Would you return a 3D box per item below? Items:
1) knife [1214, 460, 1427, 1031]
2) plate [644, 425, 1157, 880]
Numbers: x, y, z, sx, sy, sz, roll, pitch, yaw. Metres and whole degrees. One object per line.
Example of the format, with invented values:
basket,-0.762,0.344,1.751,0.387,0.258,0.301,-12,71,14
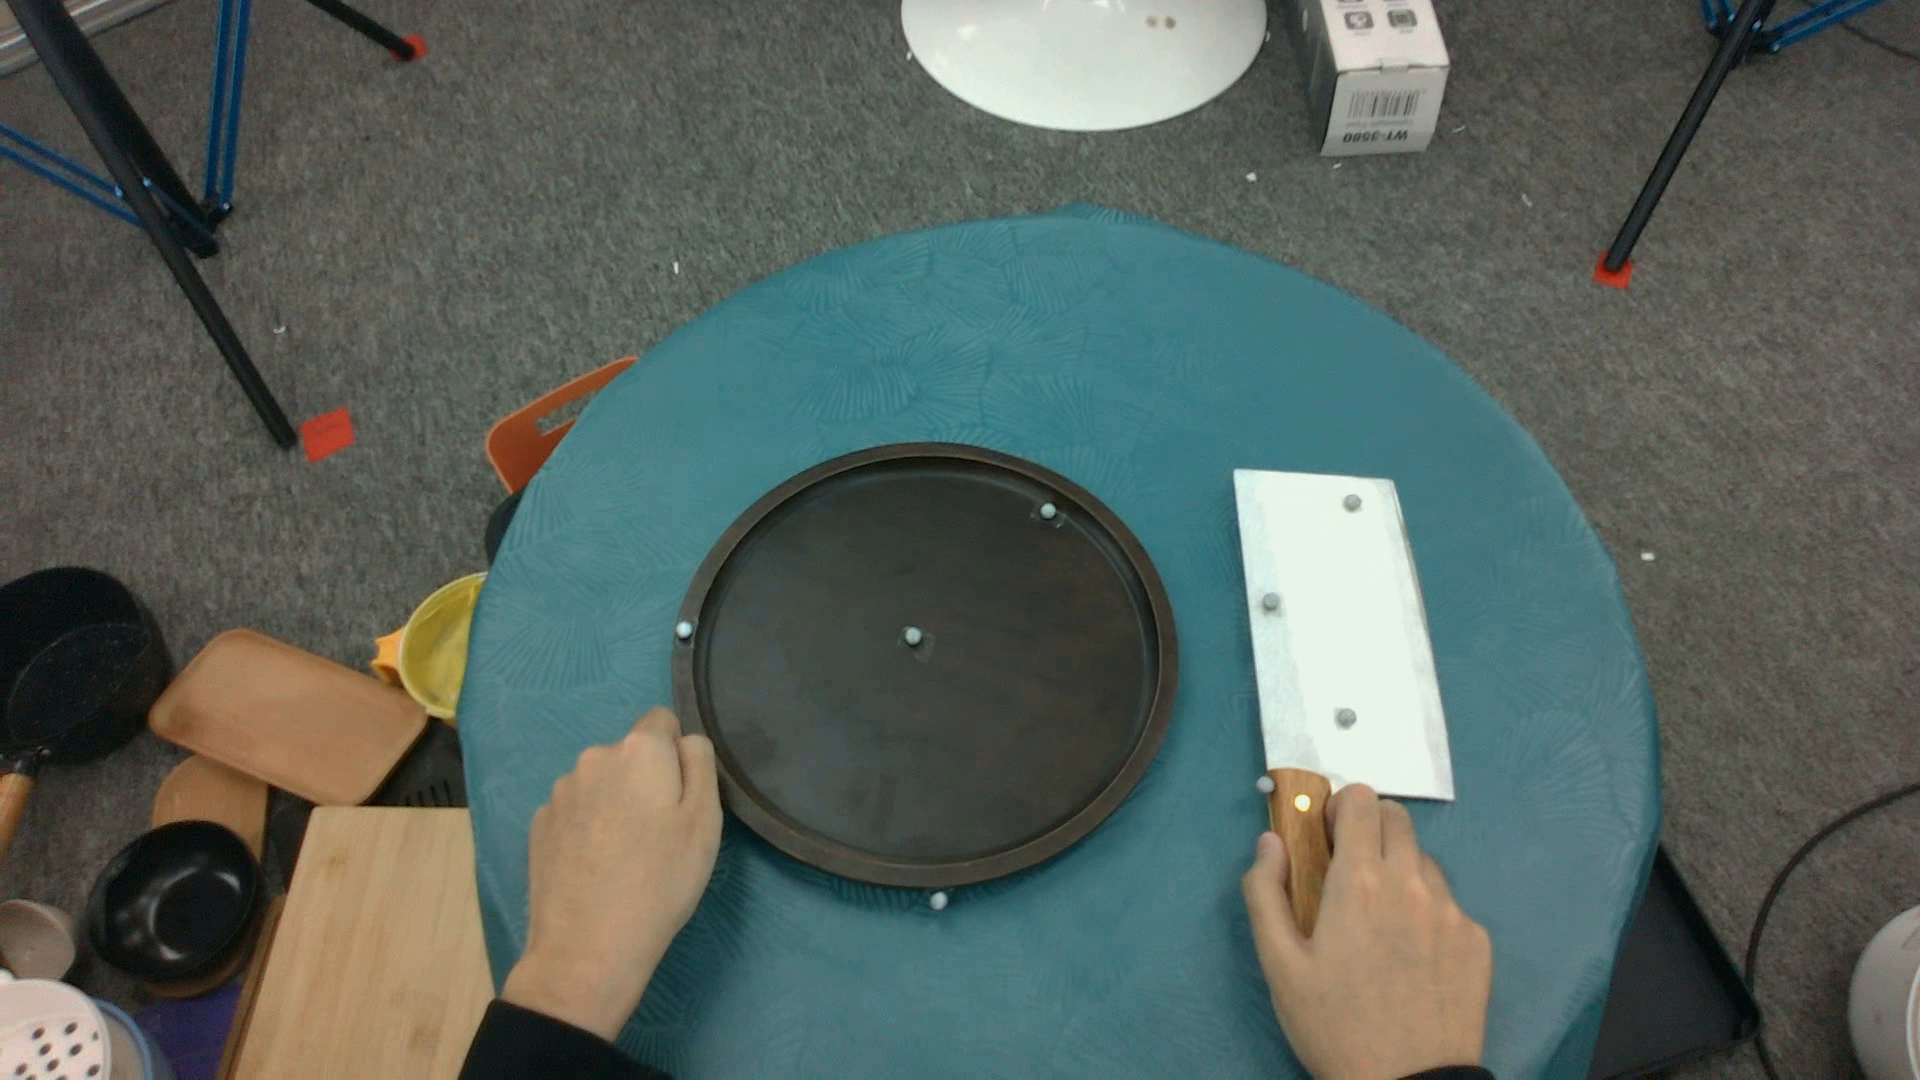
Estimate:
knife,0.179,0.084,0.674,0.093,0.021,0.307,5,56,-4
plate,-0.028,0.047,0.688,0.255,0.029,0.256,0,57,1
